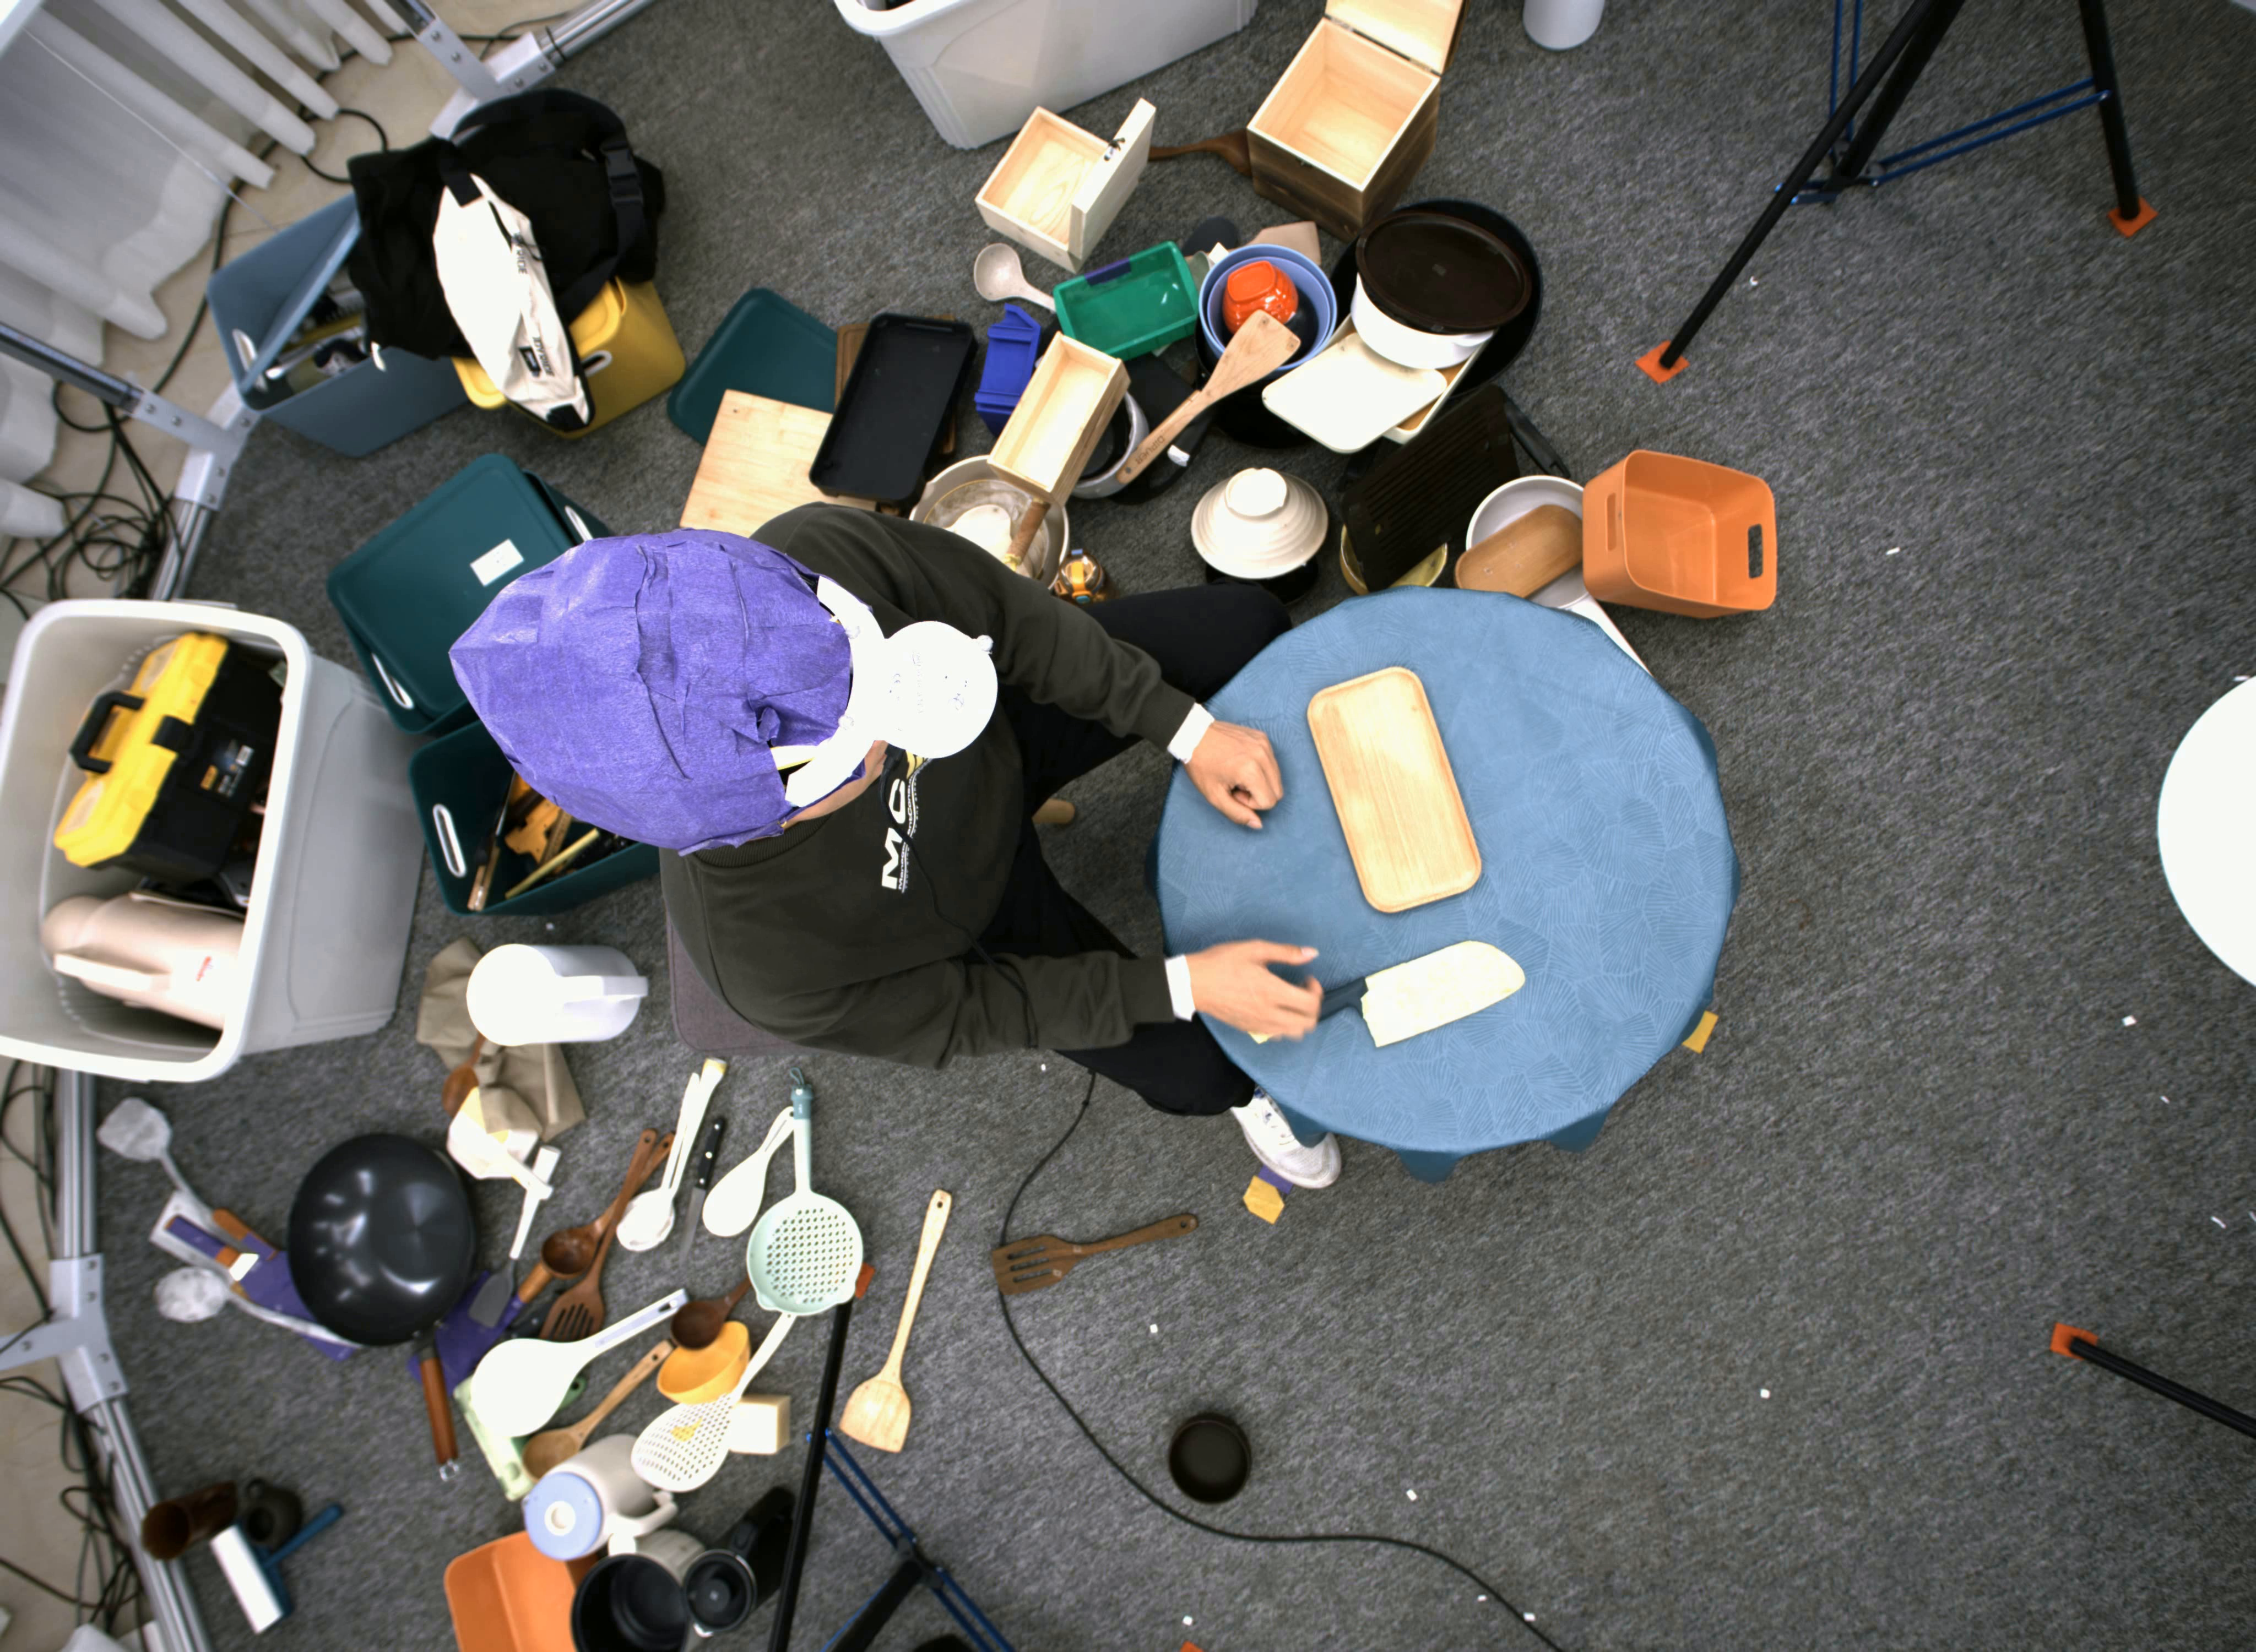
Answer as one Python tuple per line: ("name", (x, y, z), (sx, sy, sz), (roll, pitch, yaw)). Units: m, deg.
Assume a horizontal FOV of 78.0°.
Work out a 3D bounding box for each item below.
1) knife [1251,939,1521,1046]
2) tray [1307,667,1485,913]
("knife", (0.270, 0.186, 1.446), (0.291, 0.027, 0.080), (-18, 82, 8))
("tray", (0.283, -0.040, 1.456), (0.131, 0.023, 0.249), (-18, 84, 12))
